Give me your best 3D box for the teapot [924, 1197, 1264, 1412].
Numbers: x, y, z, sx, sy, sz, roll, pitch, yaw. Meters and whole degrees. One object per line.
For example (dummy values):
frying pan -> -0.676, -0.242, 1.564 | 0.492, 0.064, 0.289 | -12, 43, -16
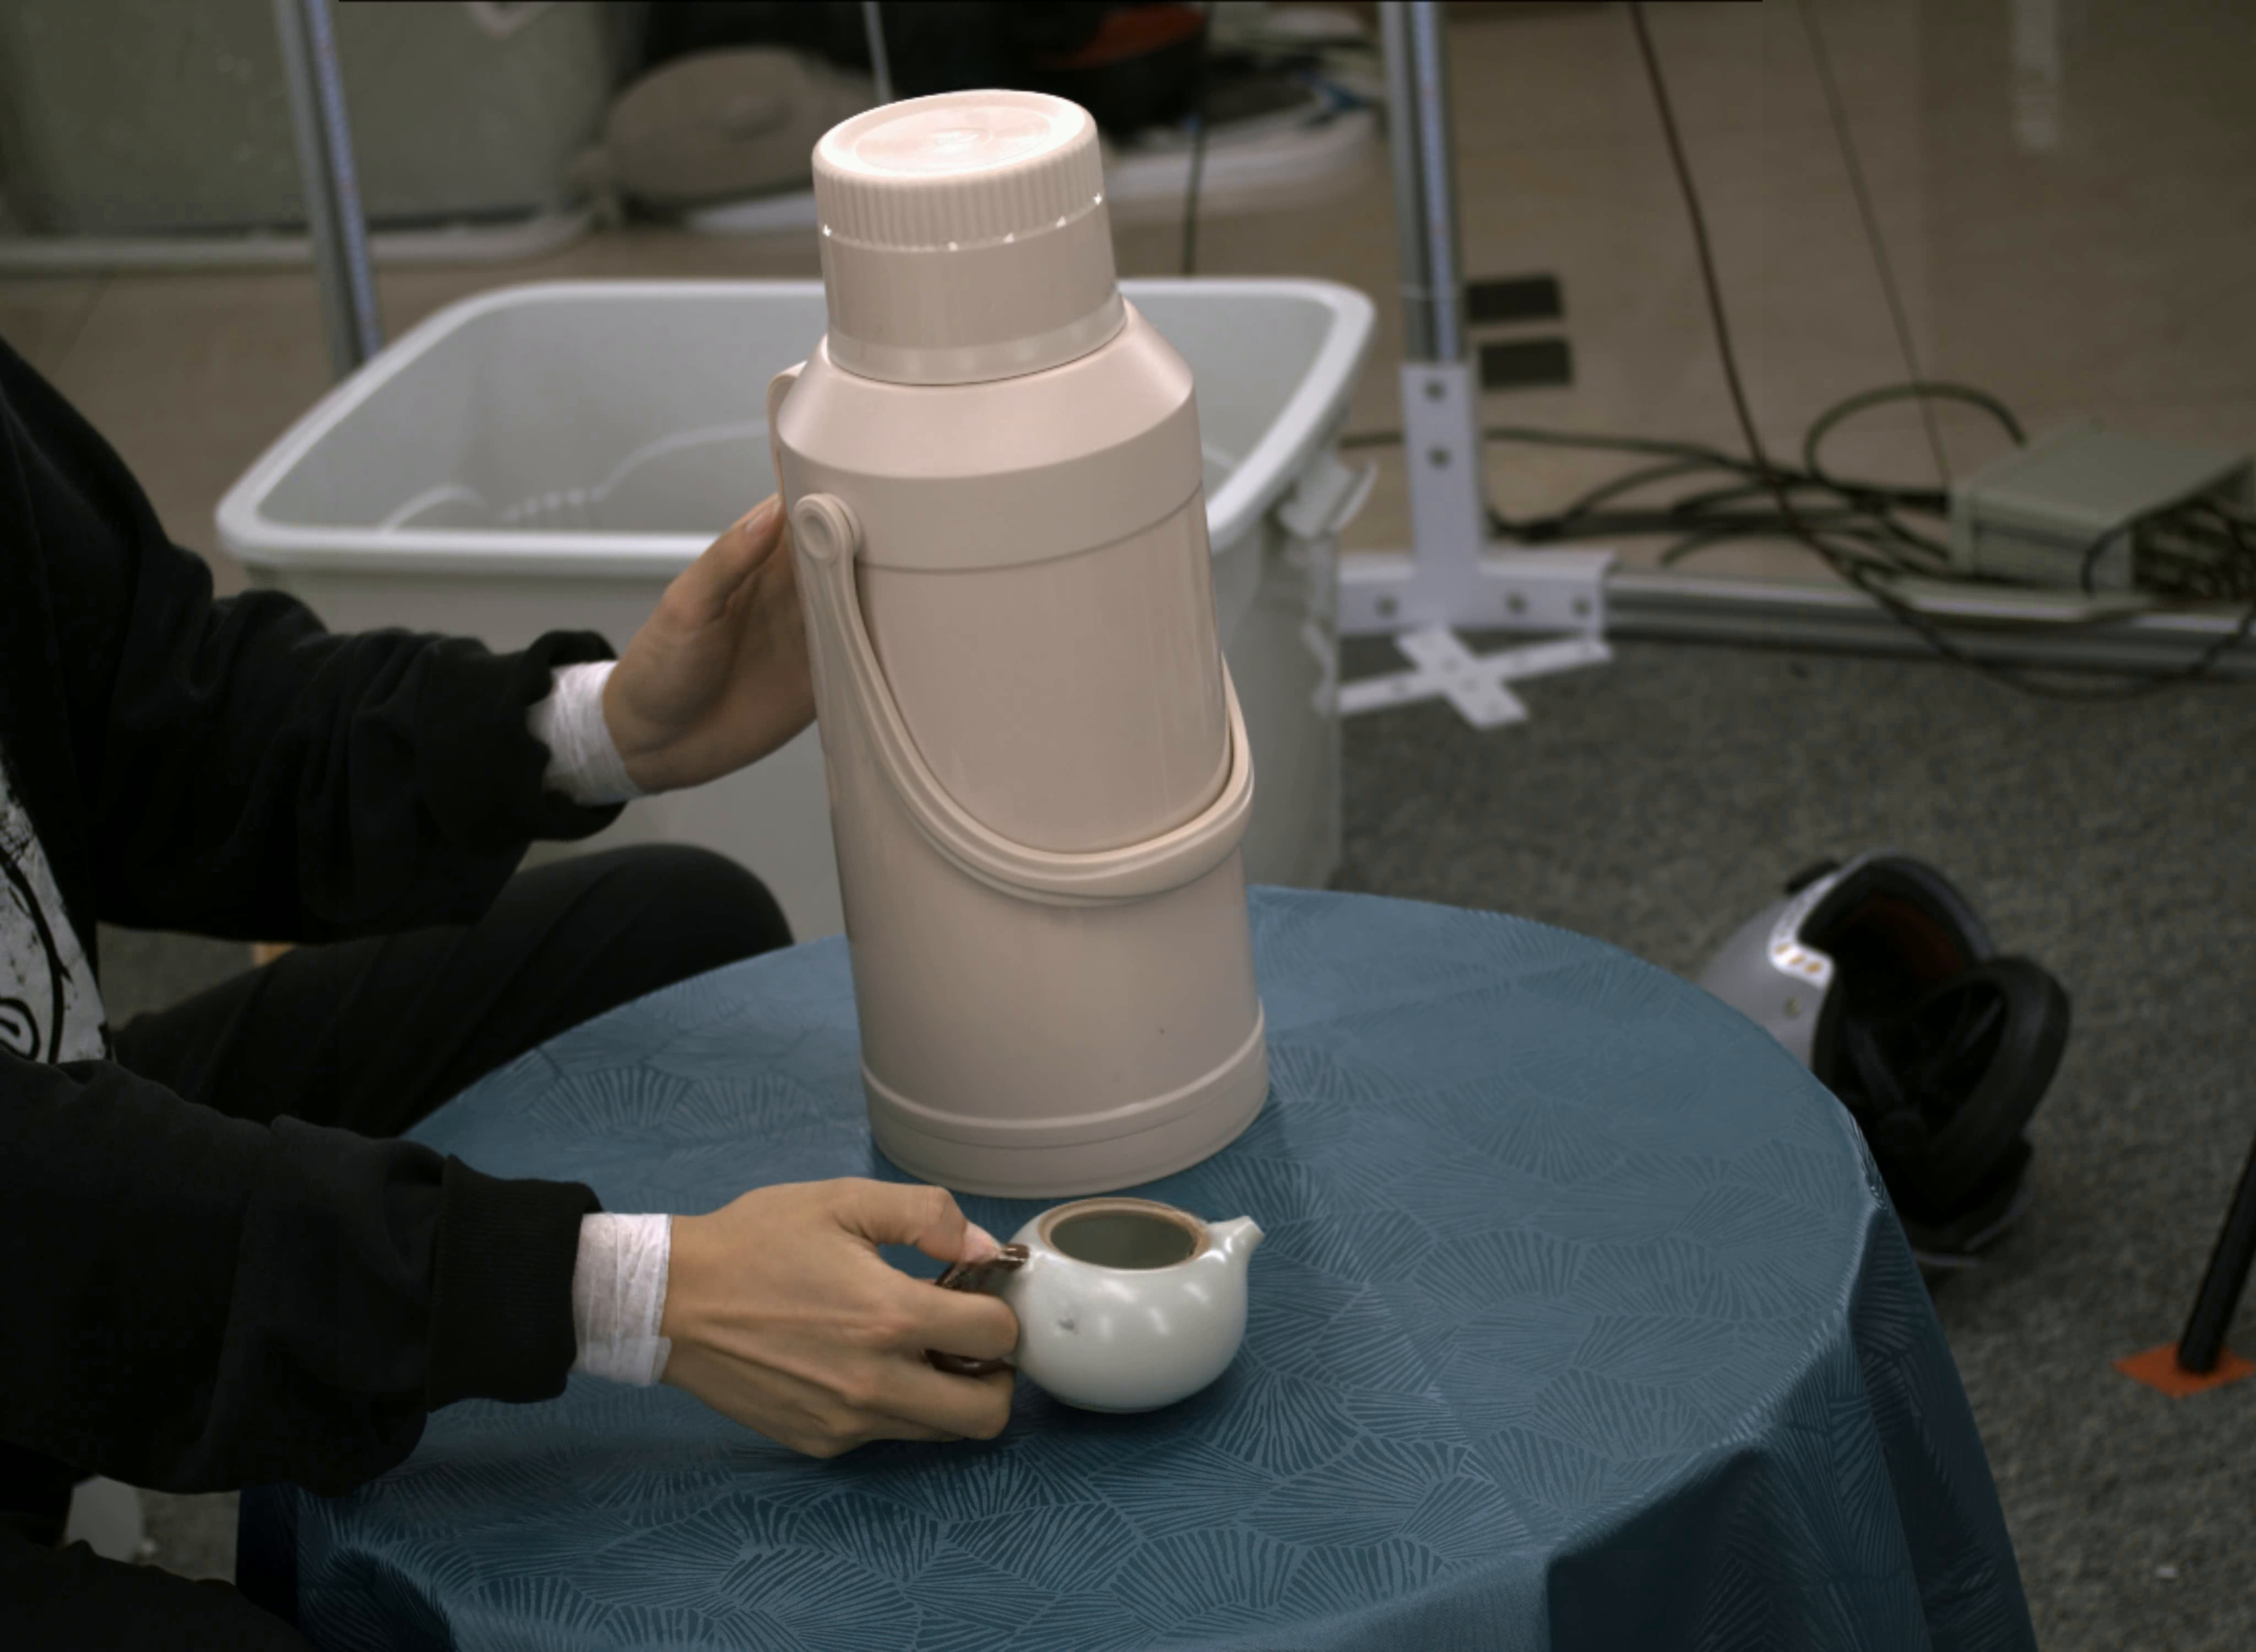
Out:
teapot -> -0.012, 0.170, 2.002 | 0.128, 0.060, 0.090 | -5, 25, -24

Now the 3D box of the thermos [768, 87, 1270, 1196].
thermos -> -0.051, -0.074, 2.144 | 0.205, 0.413, 0.174 | 20, 38, 41
